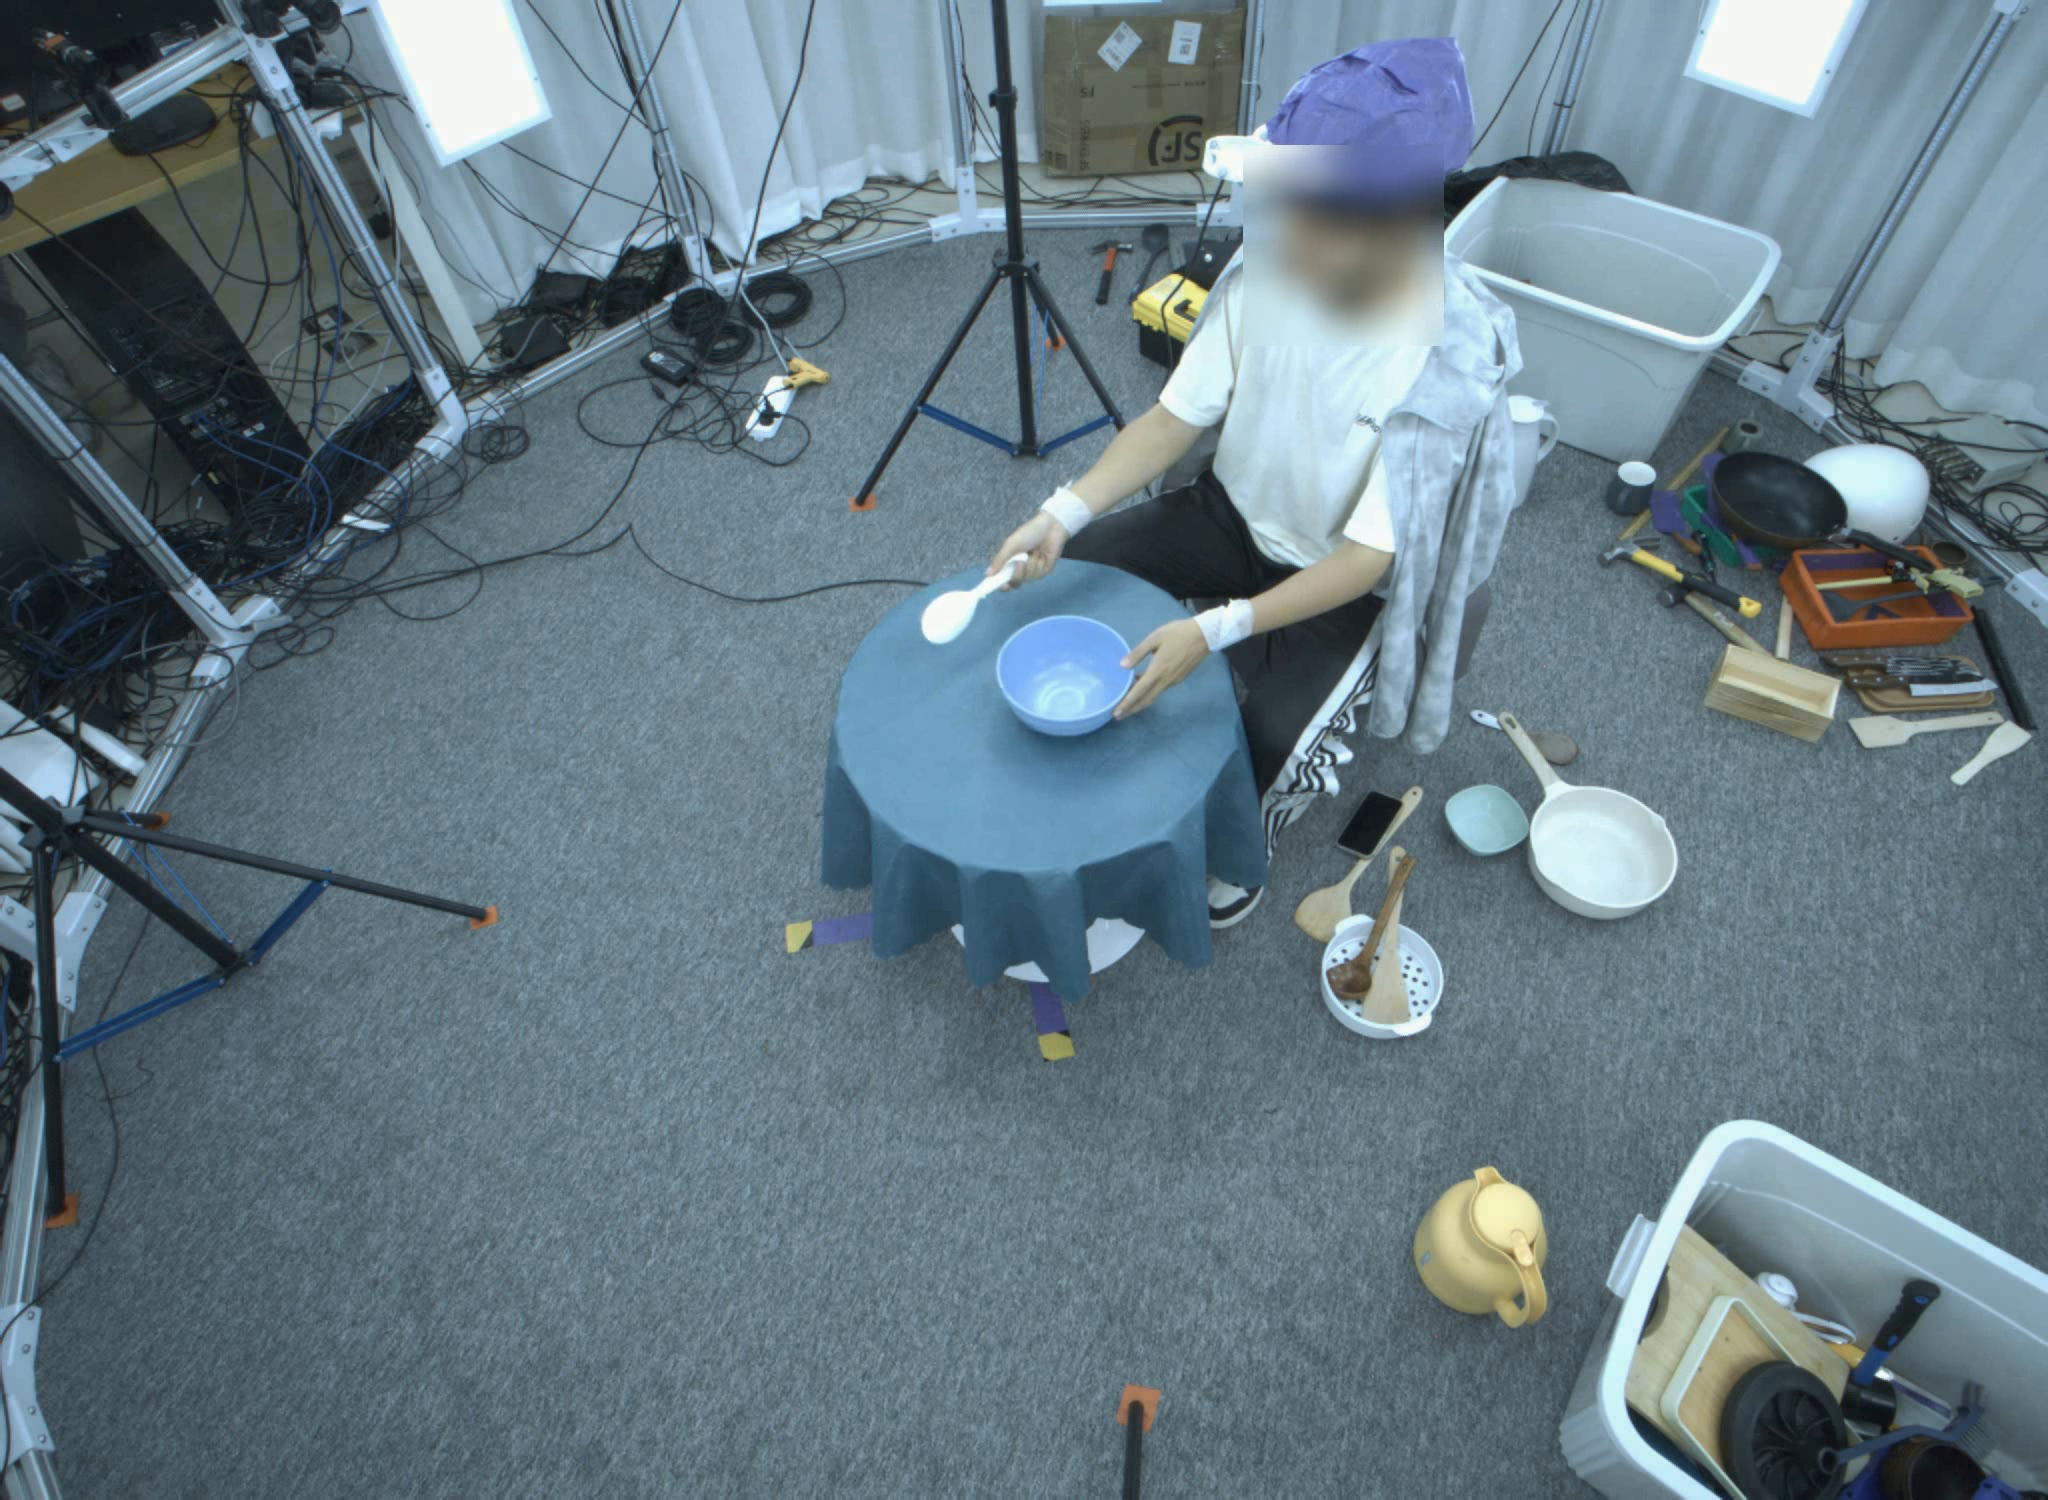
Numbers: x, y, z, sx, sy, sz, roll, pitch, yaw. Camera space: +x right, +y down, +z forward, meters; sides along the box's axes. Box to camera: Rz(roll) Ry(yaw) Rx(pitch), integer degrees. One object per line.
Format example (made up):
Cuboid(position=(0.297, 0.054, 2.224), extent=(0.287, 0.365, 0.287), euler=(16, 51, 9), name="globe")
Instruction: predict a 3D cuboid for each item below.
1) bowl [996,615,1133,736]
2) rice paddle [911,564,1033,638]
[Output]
Cuboid(position=(0.061, -0.094, 1.794), extent=(0.196, 0.096, 0.194), euler=(-2, 55, 4), name="bowl")
Cuboid(position=(-0.081, -0.229, 1.852), extent=(0.207, 0.070, 0.029), euler=(-27, 39, -18), name="rice paddle")
